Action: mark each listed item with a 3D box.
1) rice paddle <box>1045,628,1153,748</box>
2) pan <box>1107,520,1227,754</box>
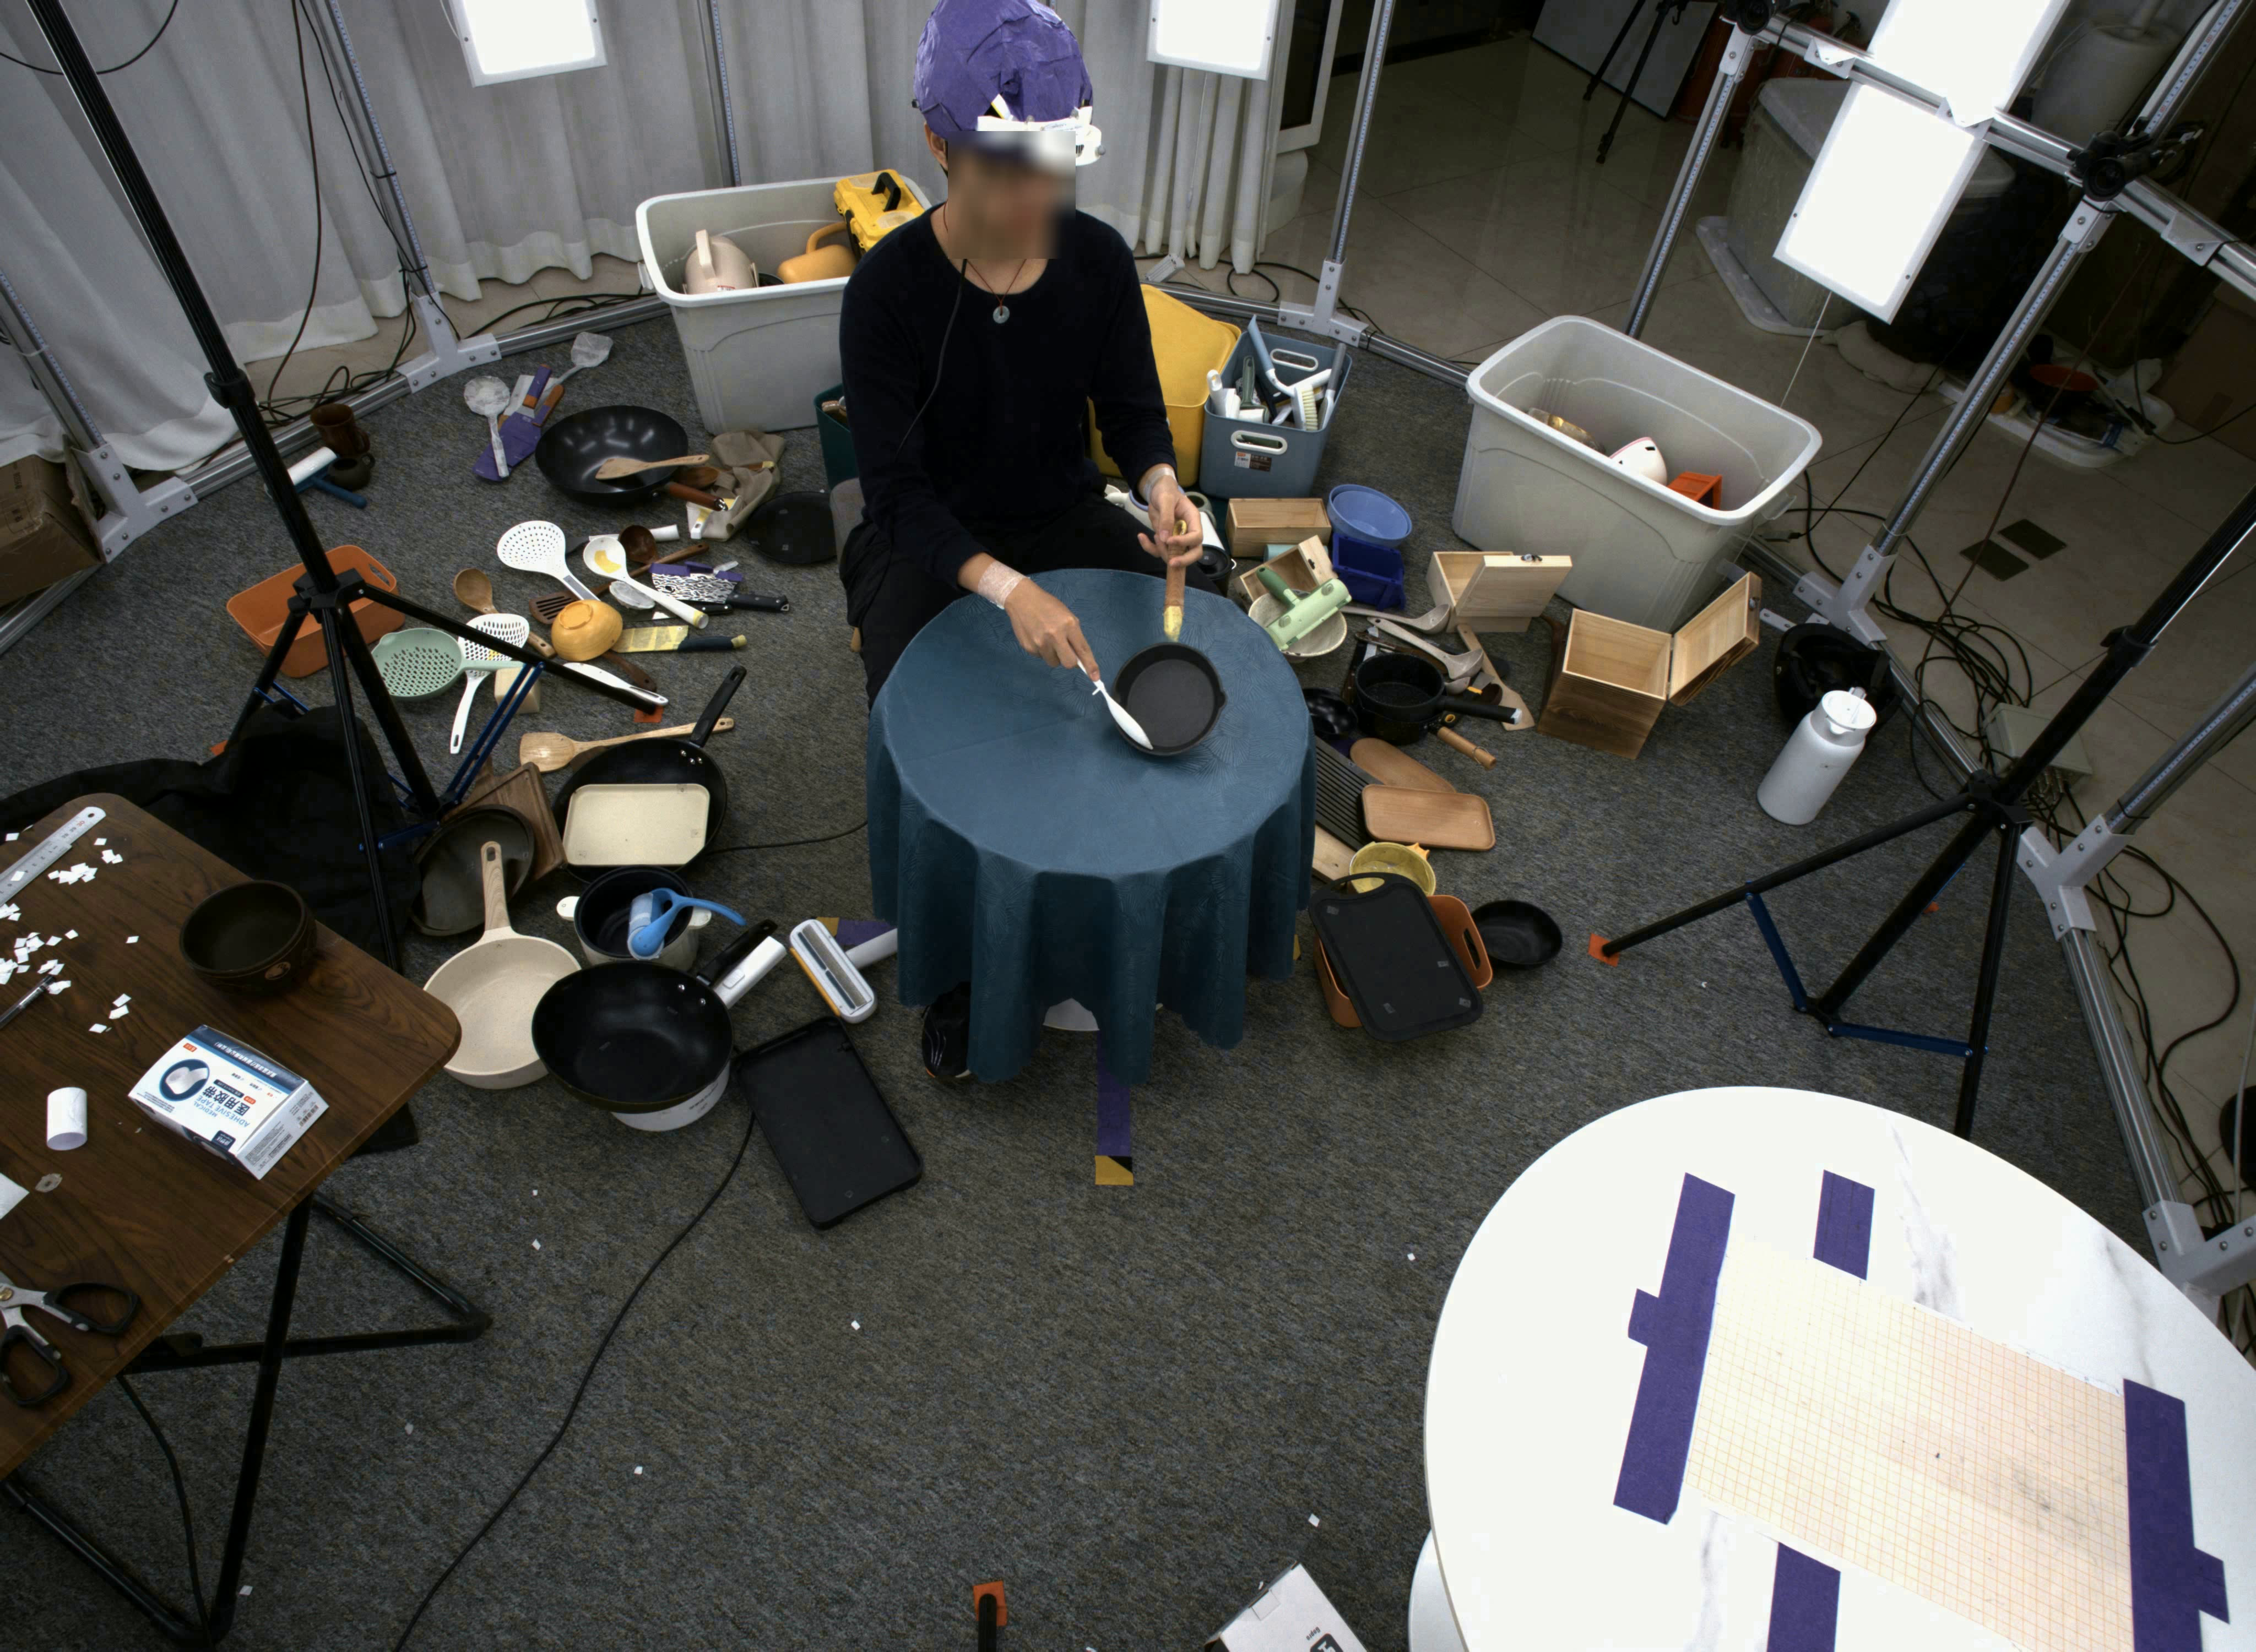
[{"bbox_3d":[-0.033,-0.185,1.746,0.205,0.029,0.069,48,12,1],"label":"rice paddle"},{"bbox_3d":[0.062,-0.257,1.763,0.169,0.049,0.326,4,83,16],"label":"pan"}]
